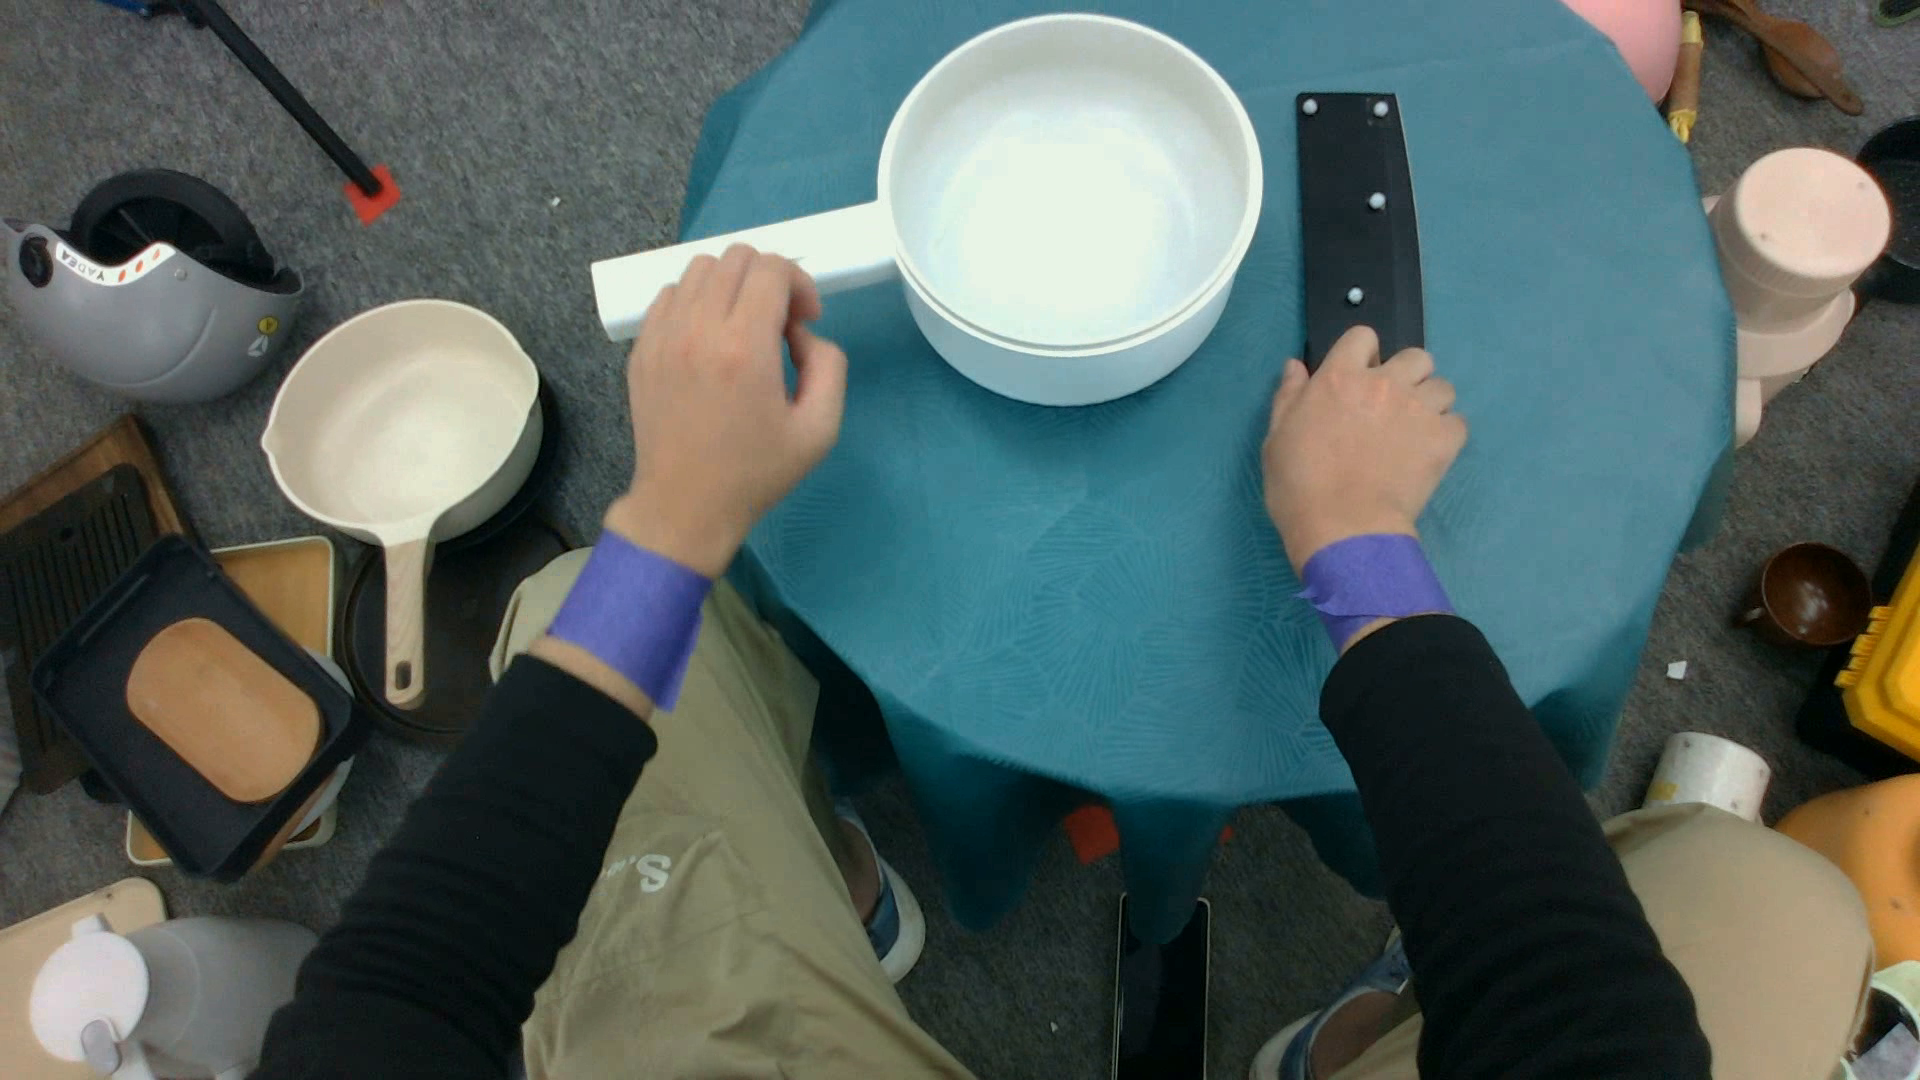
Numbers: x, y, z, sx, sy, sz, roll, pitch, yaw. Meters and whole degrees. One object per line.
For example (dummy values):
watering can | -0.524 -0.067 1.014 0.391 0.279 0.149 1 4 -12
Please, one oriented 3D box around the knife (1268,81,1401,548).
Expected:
knife | 0.213 -0.140 0.790 0.081 0.021 0.303 5 70 4

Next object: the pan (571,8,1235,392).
pan | -0.028 -0.164 0.767 0.355 0.102 0.201 -14 73 -1
